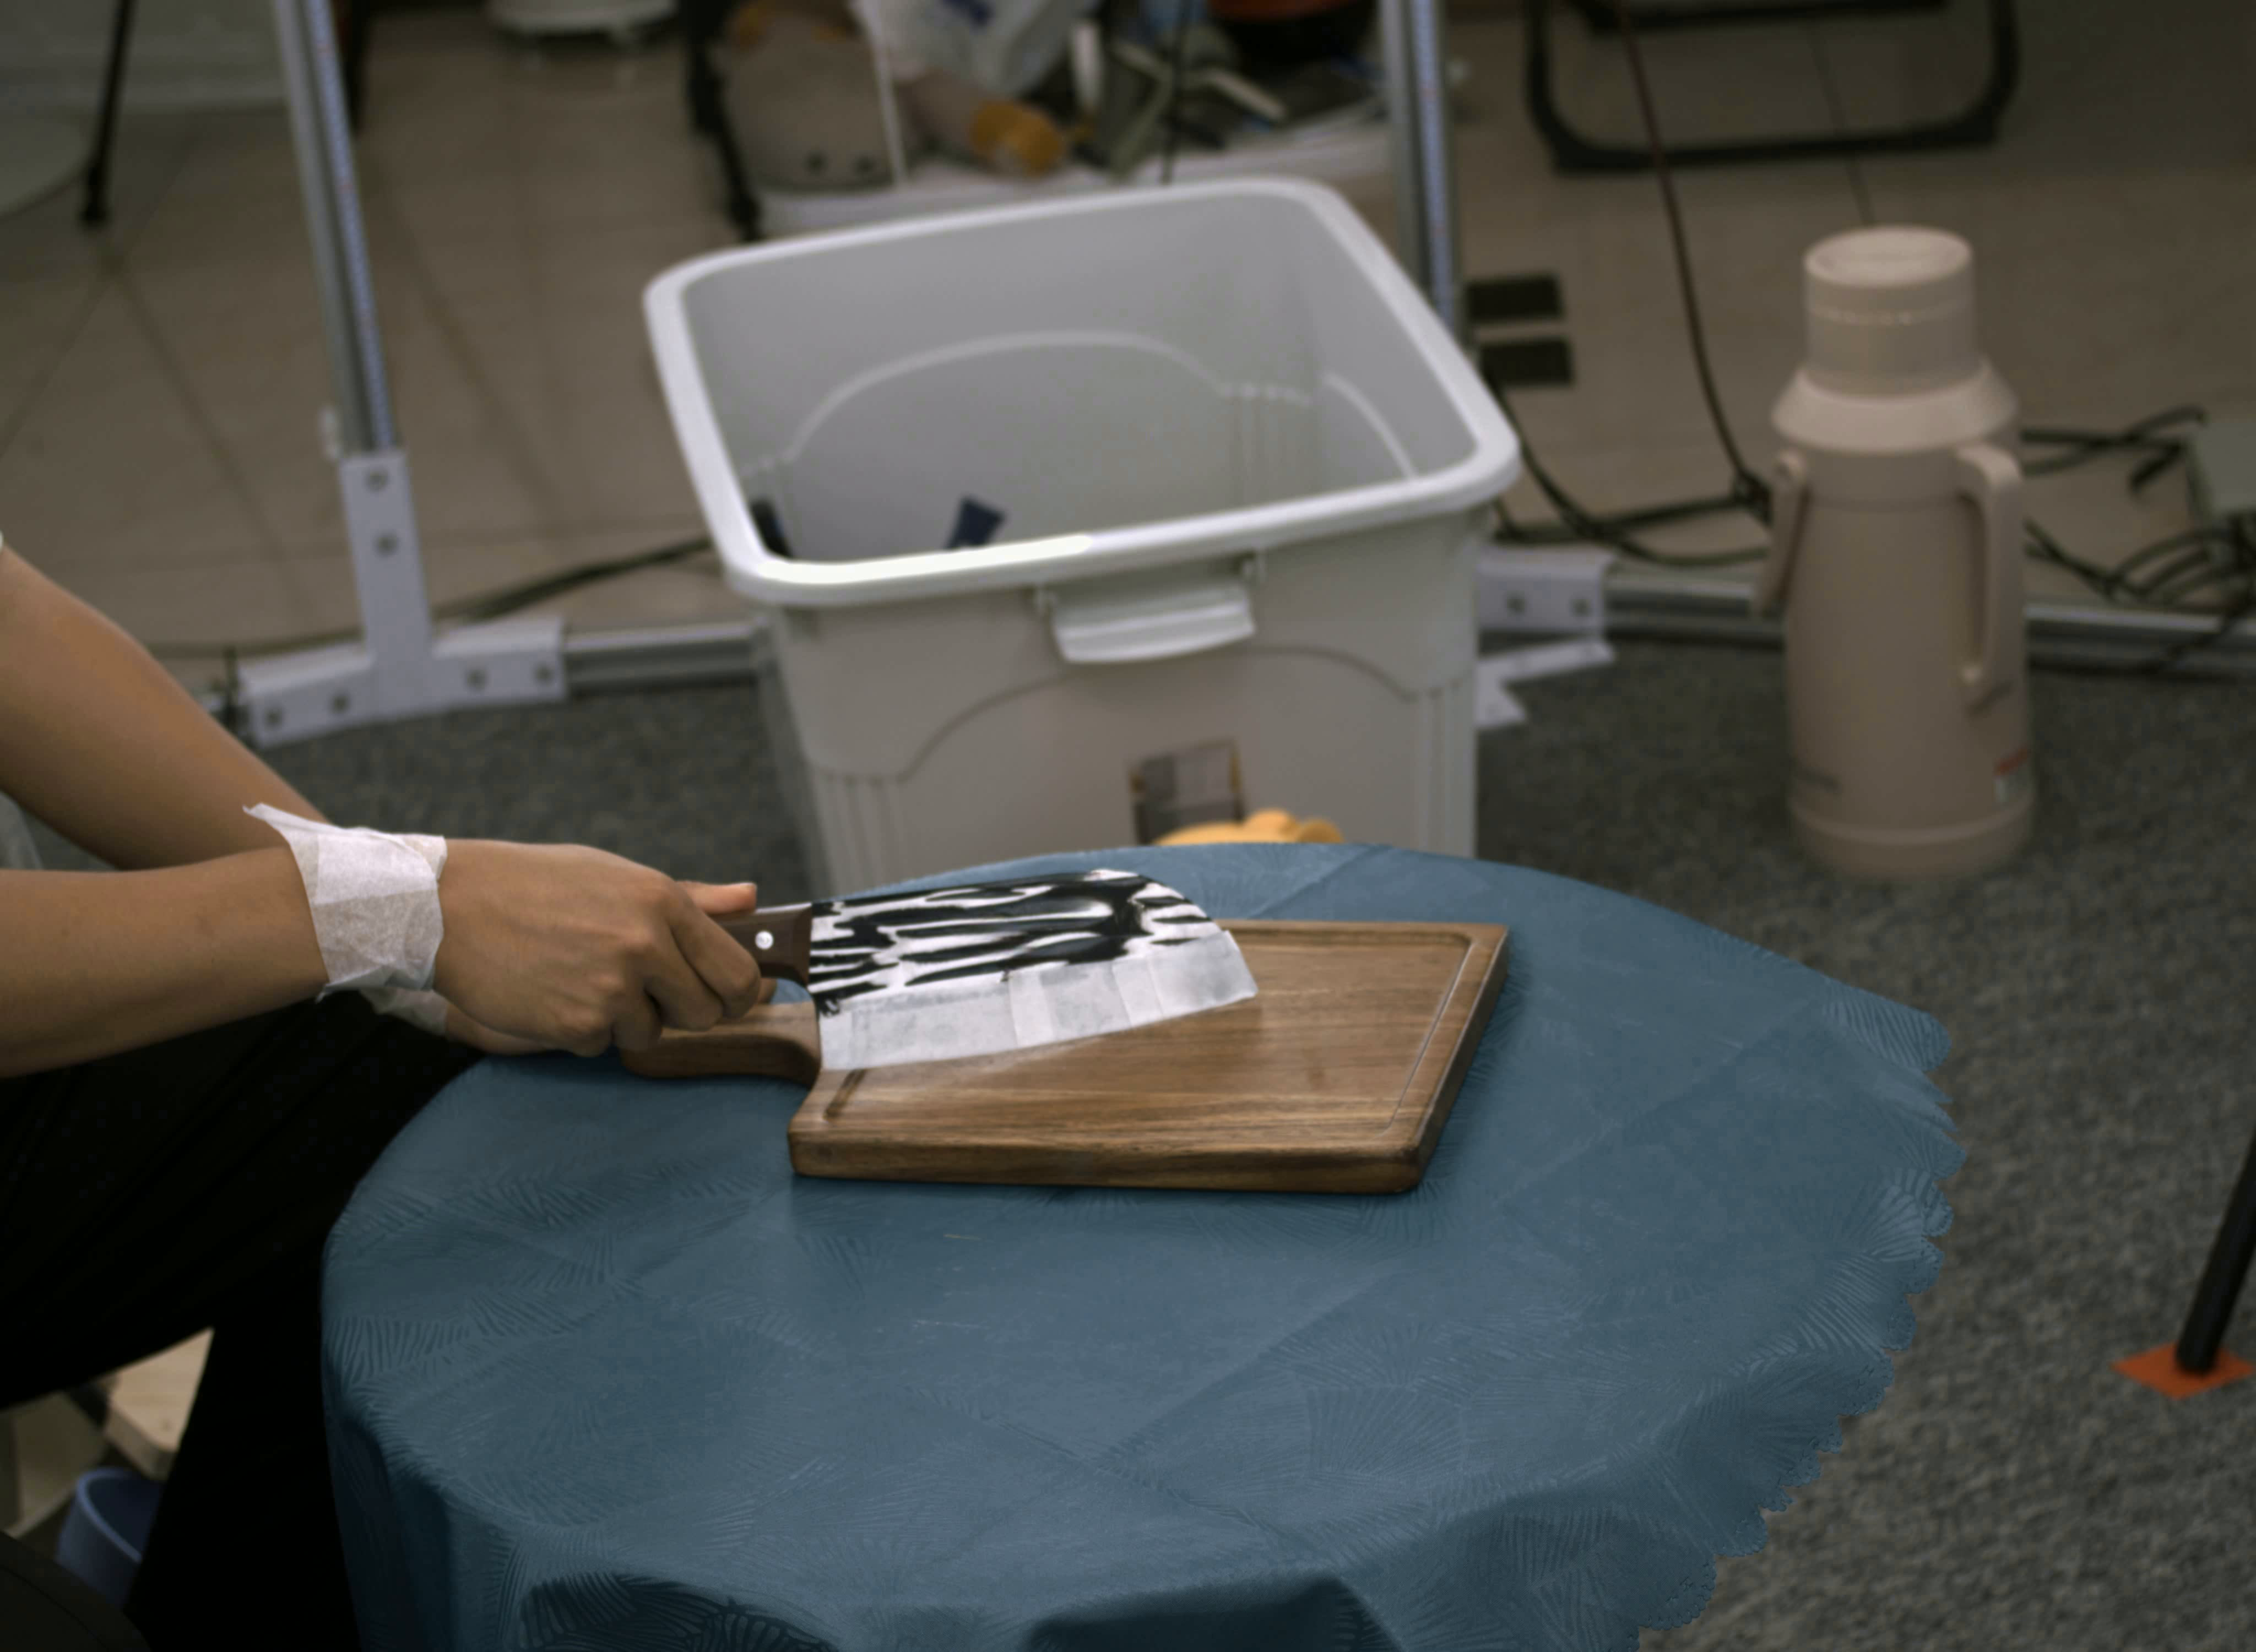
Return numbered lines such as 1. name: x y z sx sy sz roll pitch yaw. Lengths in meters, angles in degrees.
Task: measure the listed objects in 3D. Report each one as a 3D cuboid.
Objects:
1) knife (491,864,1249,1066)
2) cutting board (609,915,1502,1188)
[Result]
1. knife: -0.098 0.057 2.215 0.299 0.068 0.024 -6 0 -14
2. cutting board: -0.039 0.085 2.251 0.351 0.023 0.198 1 26 16
